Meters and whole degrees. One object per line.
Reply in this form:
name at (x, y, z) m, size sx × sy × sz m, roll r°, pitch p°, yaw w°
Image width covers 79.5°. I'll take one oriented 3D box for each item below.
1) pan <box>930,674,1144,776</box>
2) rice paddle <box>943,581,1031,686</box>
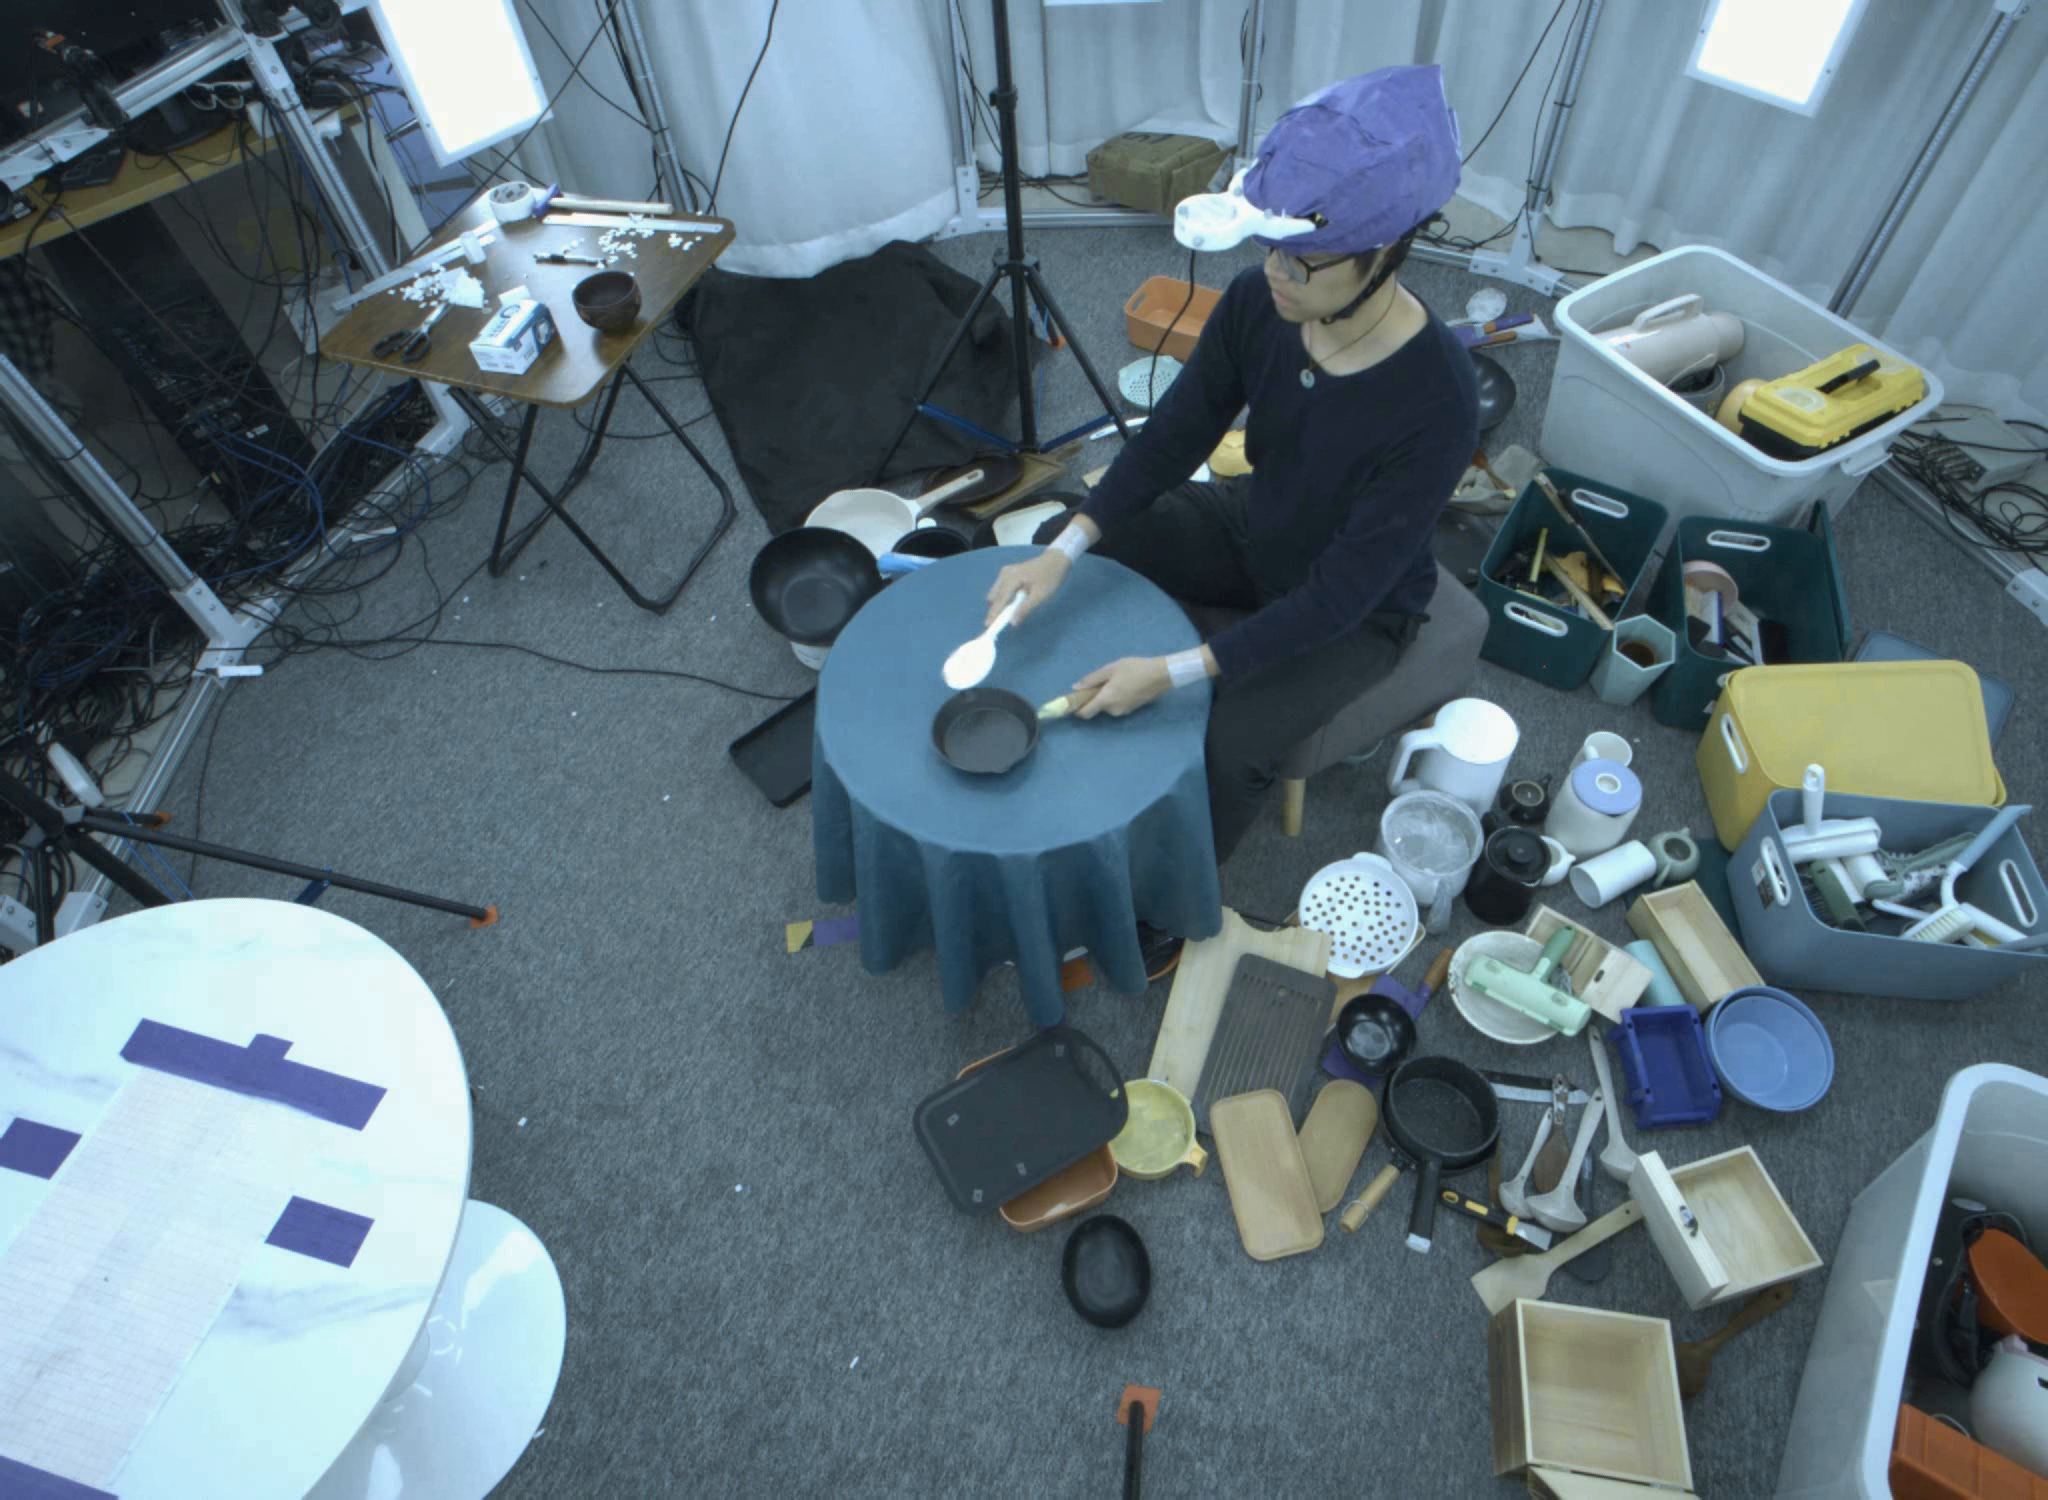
pan at (0.023, -0.050, 1.791) m, size 0.326 × 0.050 × 0.166 m, roll -16°, pitch 54°, yaw -9°
rice paddle at (-0.053, -0.171, 1.816) m, size 0.067 × 0.030 × 0.206 m, roll 19°, pitch 59°, yaw 28°
